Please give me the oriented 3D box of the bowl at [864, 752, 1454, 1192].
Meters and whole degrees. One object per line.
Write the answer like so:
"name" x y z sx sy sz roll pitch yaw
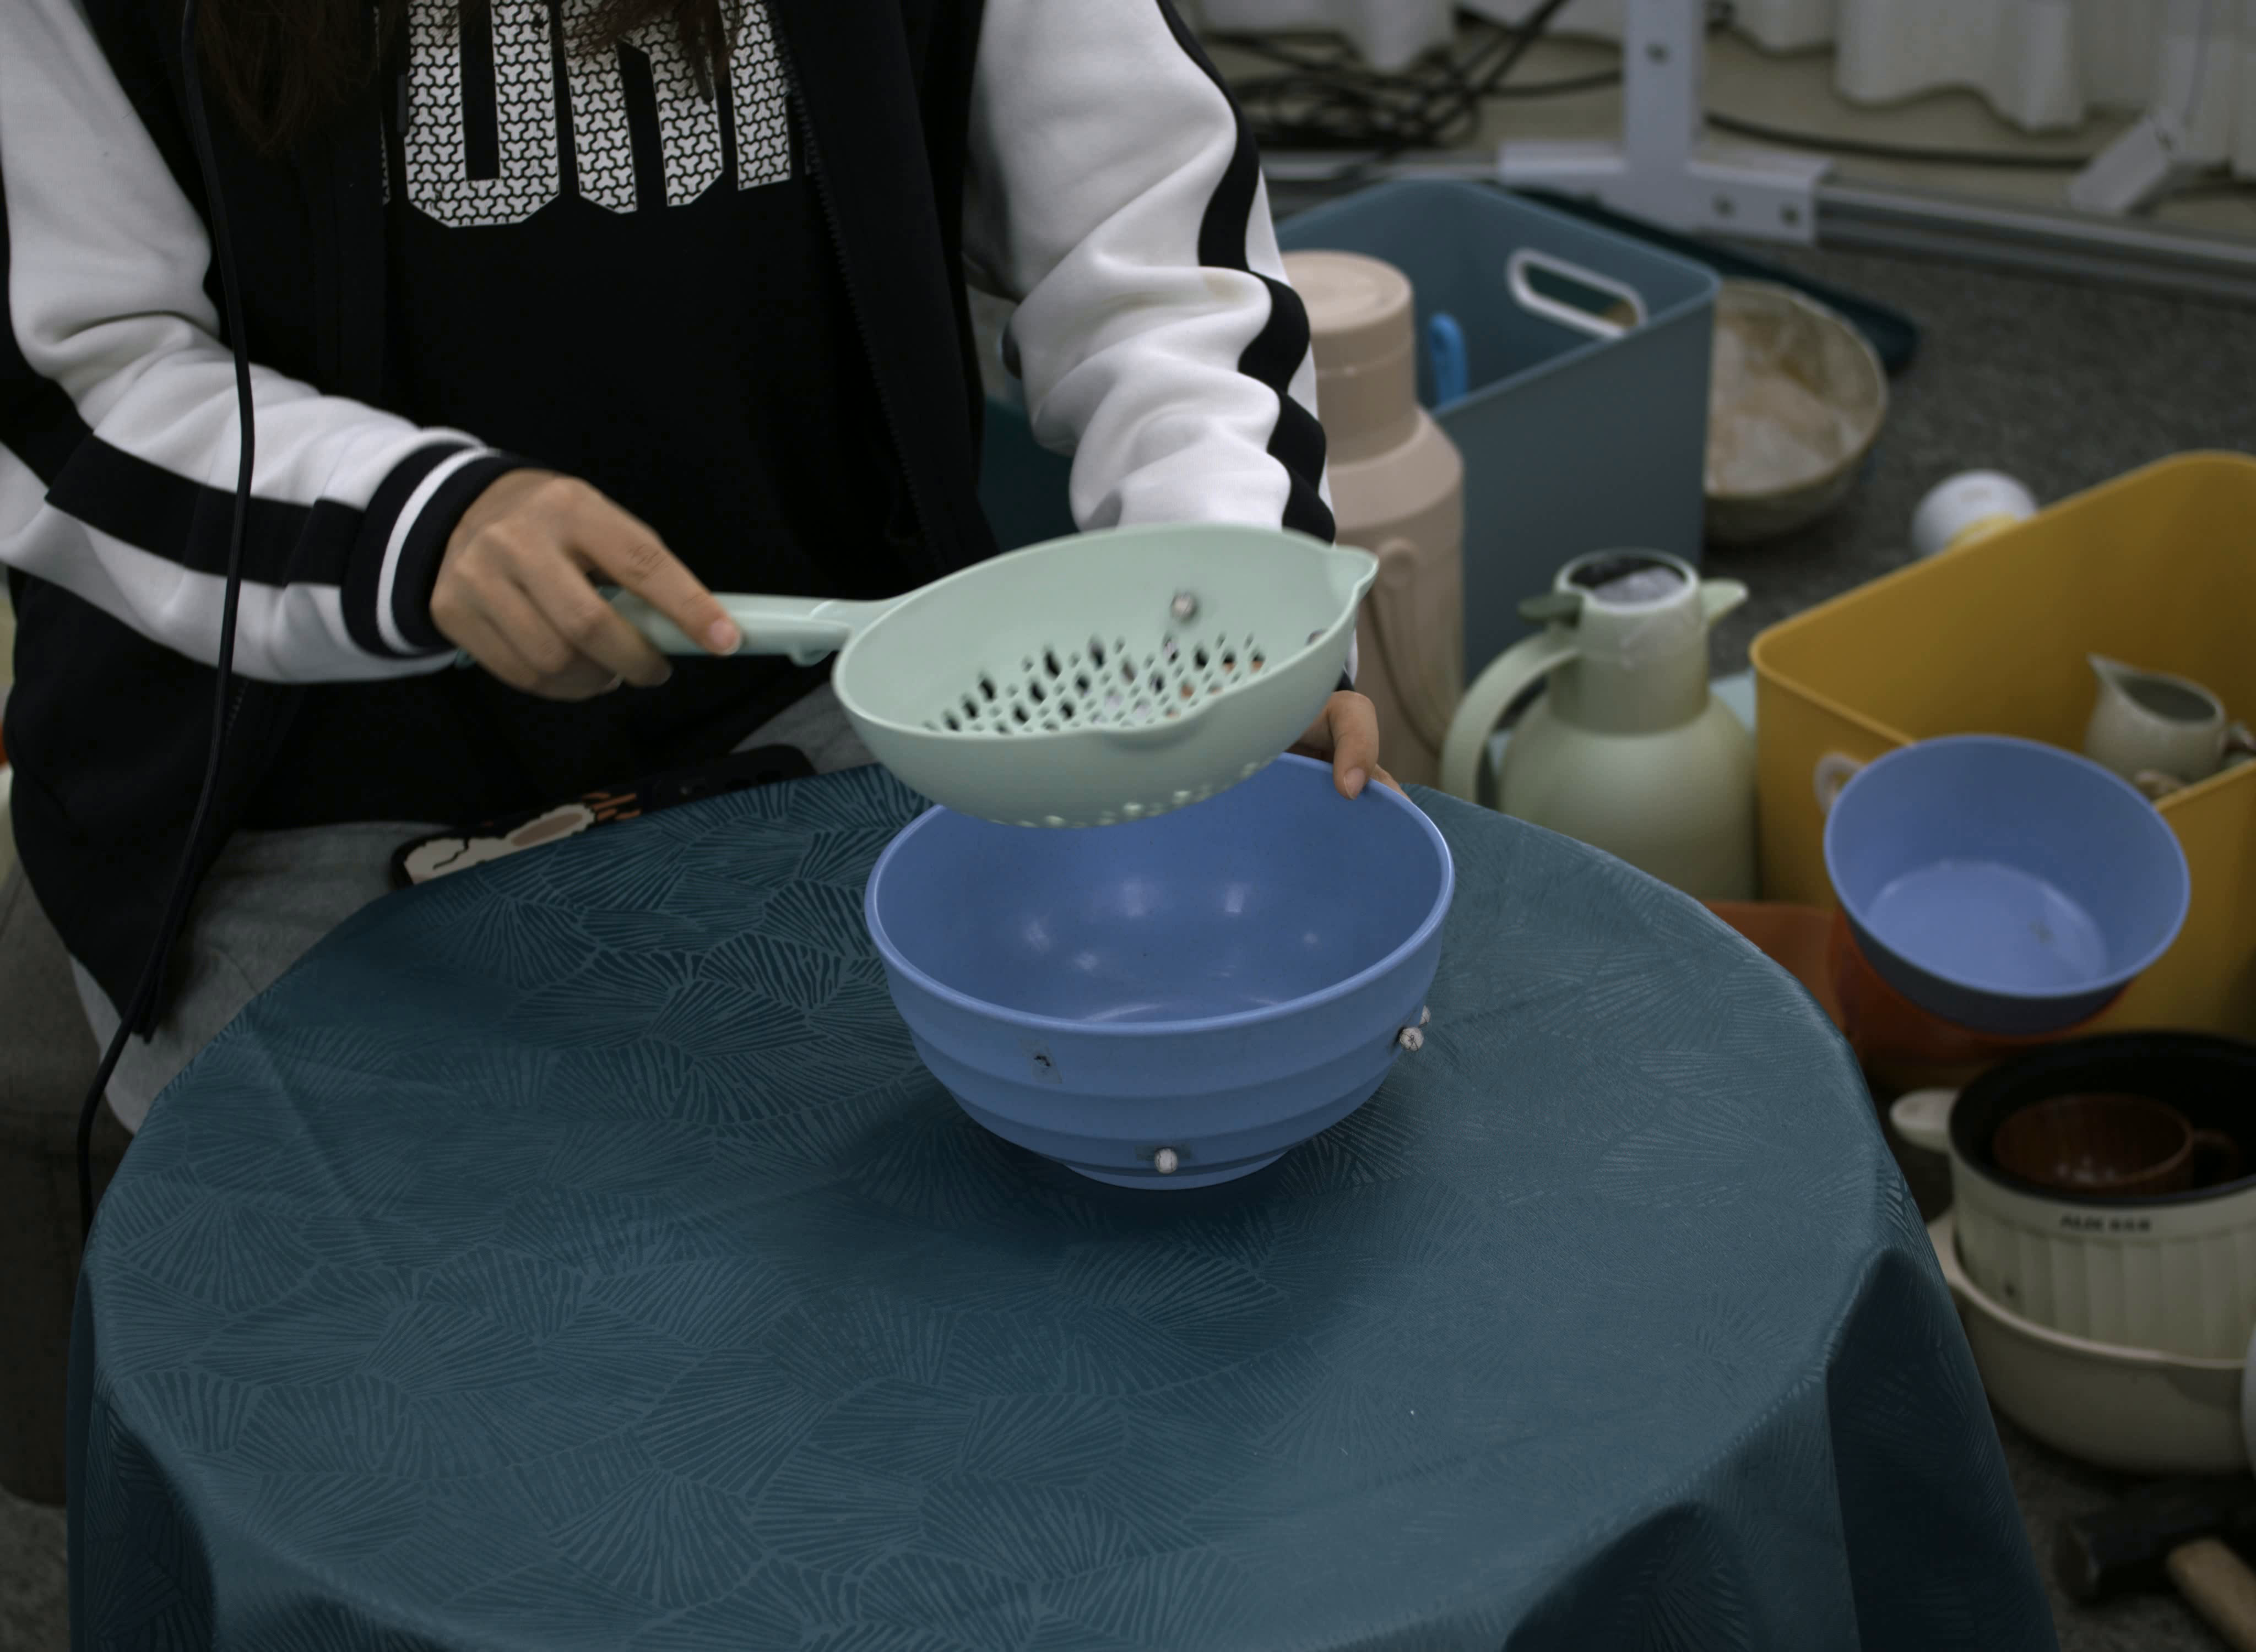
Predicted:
"bowl" 0.013 0.059 1.880 0.195 0.094 0.199 -3 27 2

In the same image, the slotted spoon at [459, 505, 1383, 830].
"slotted spoon" -0.085 -0.061 1.855 0.357 0.074 0.172 13 33 30
